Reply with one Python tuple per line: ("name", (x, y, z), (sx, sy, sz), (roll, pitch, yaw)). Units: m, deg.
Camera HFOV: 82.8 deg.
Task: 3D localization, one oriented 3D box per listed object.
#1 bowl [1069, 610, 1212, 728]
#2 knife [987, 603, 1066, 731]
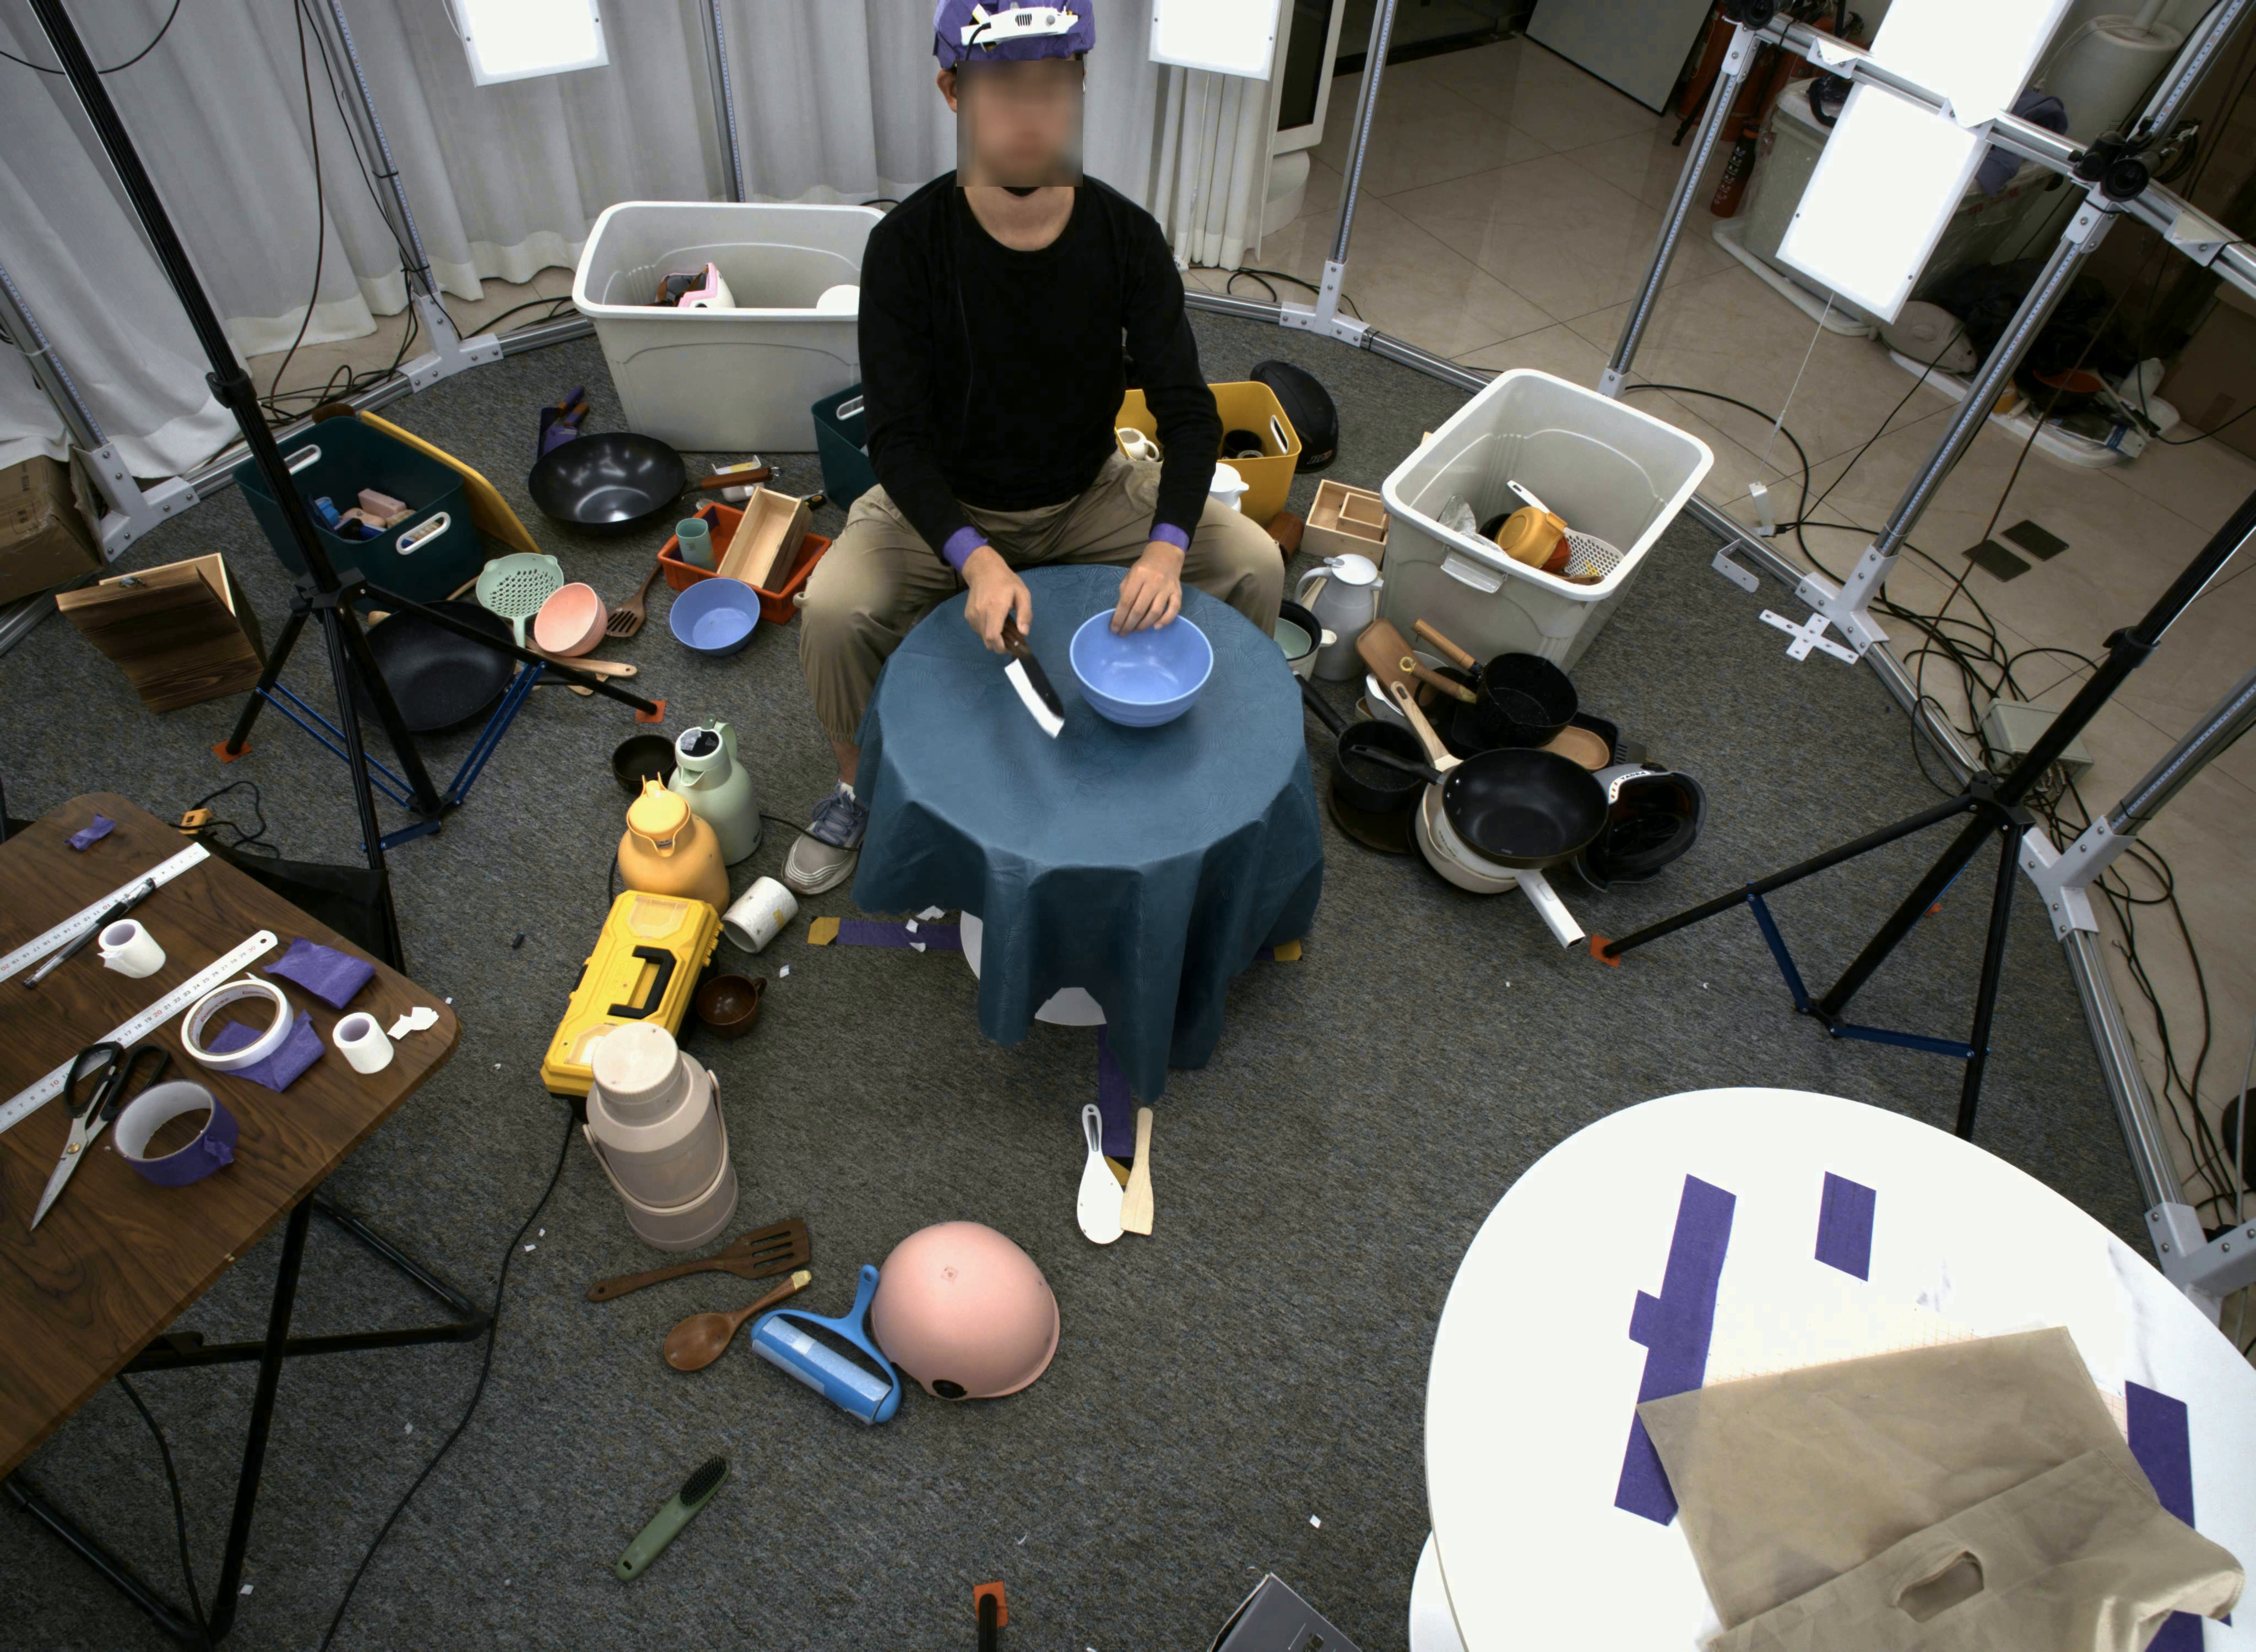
("bowl", (0.015, -0.204, 1.790), (0.196, 0.093, 0.201), (1, 47, -1))
("knife", (-0.138, -0.217, 1.731), (0.050, 0.019, 0.296), (-35, 46, 7))
